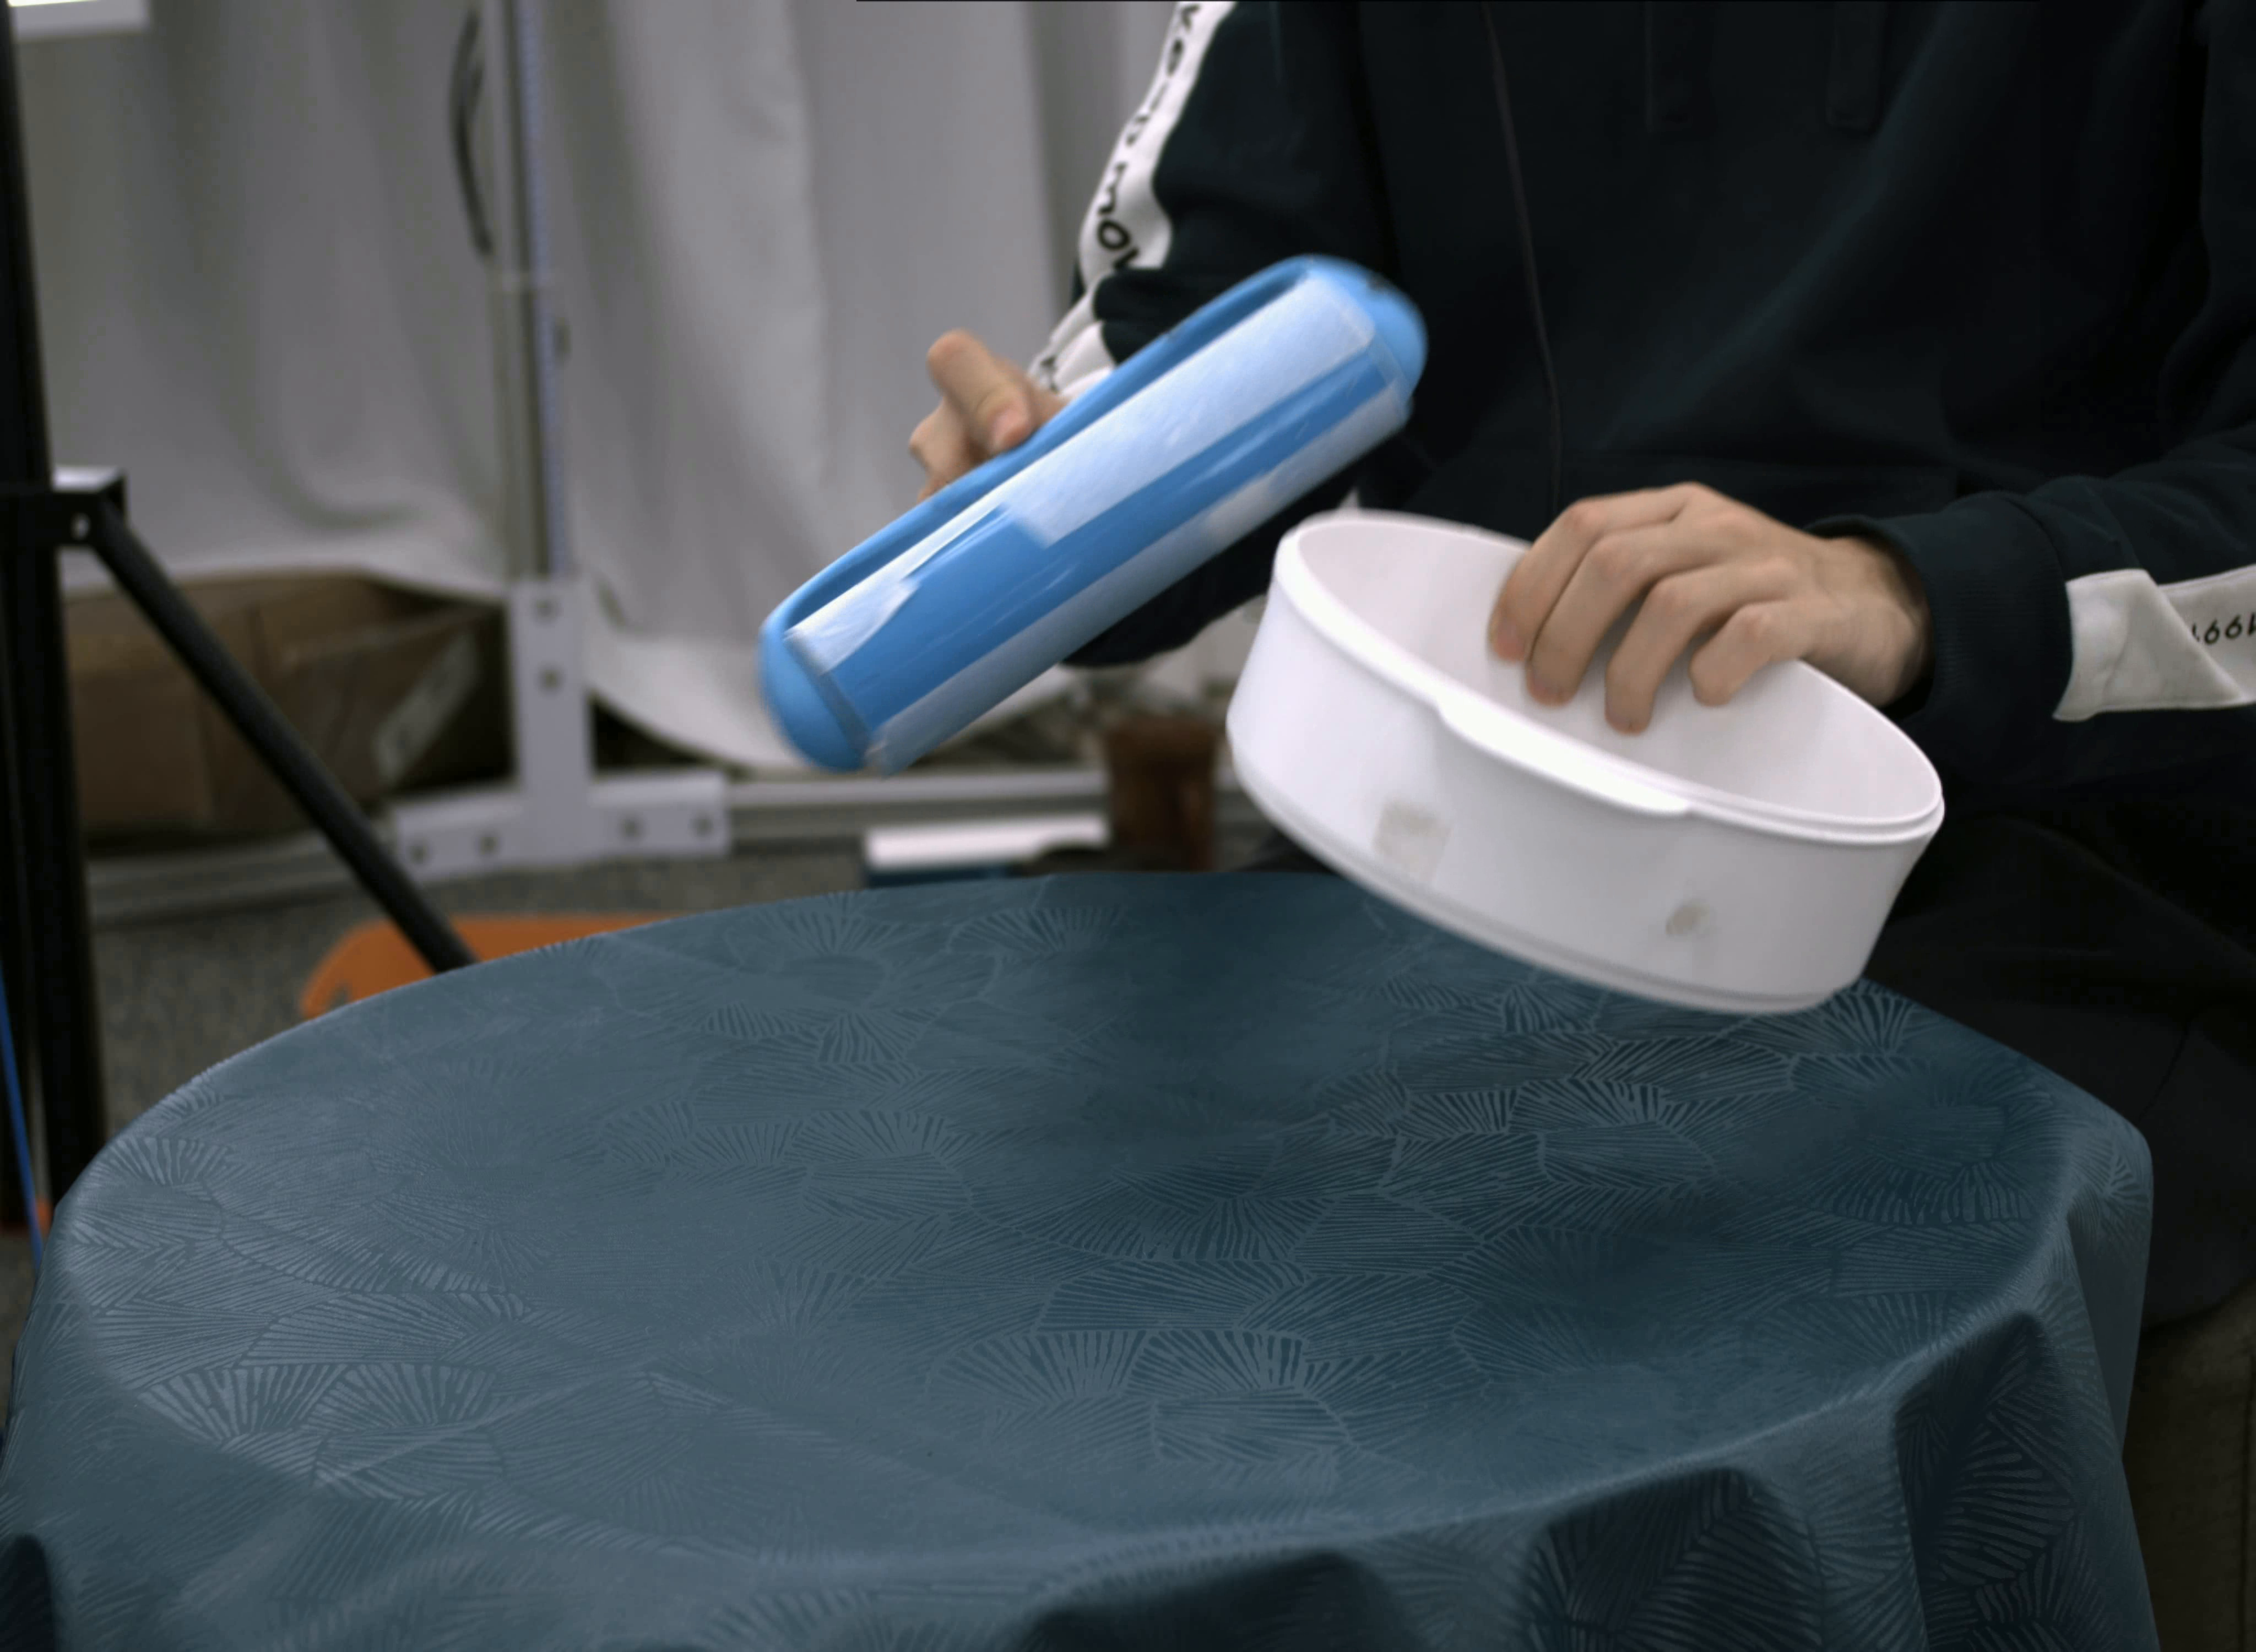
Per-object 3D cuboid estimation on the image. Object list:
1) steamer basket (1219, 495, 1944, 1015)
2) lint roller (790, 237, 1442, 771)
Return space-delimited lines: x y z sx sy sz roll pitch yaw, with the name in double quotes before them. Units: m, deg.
"steamer basket" 0.125 -0.018 1.483 0.202 0.069 0.229 25 17 7
"lint roller" -0.014 -0.094 1.649 0.227 0.068 0.182 -39 7 -9
